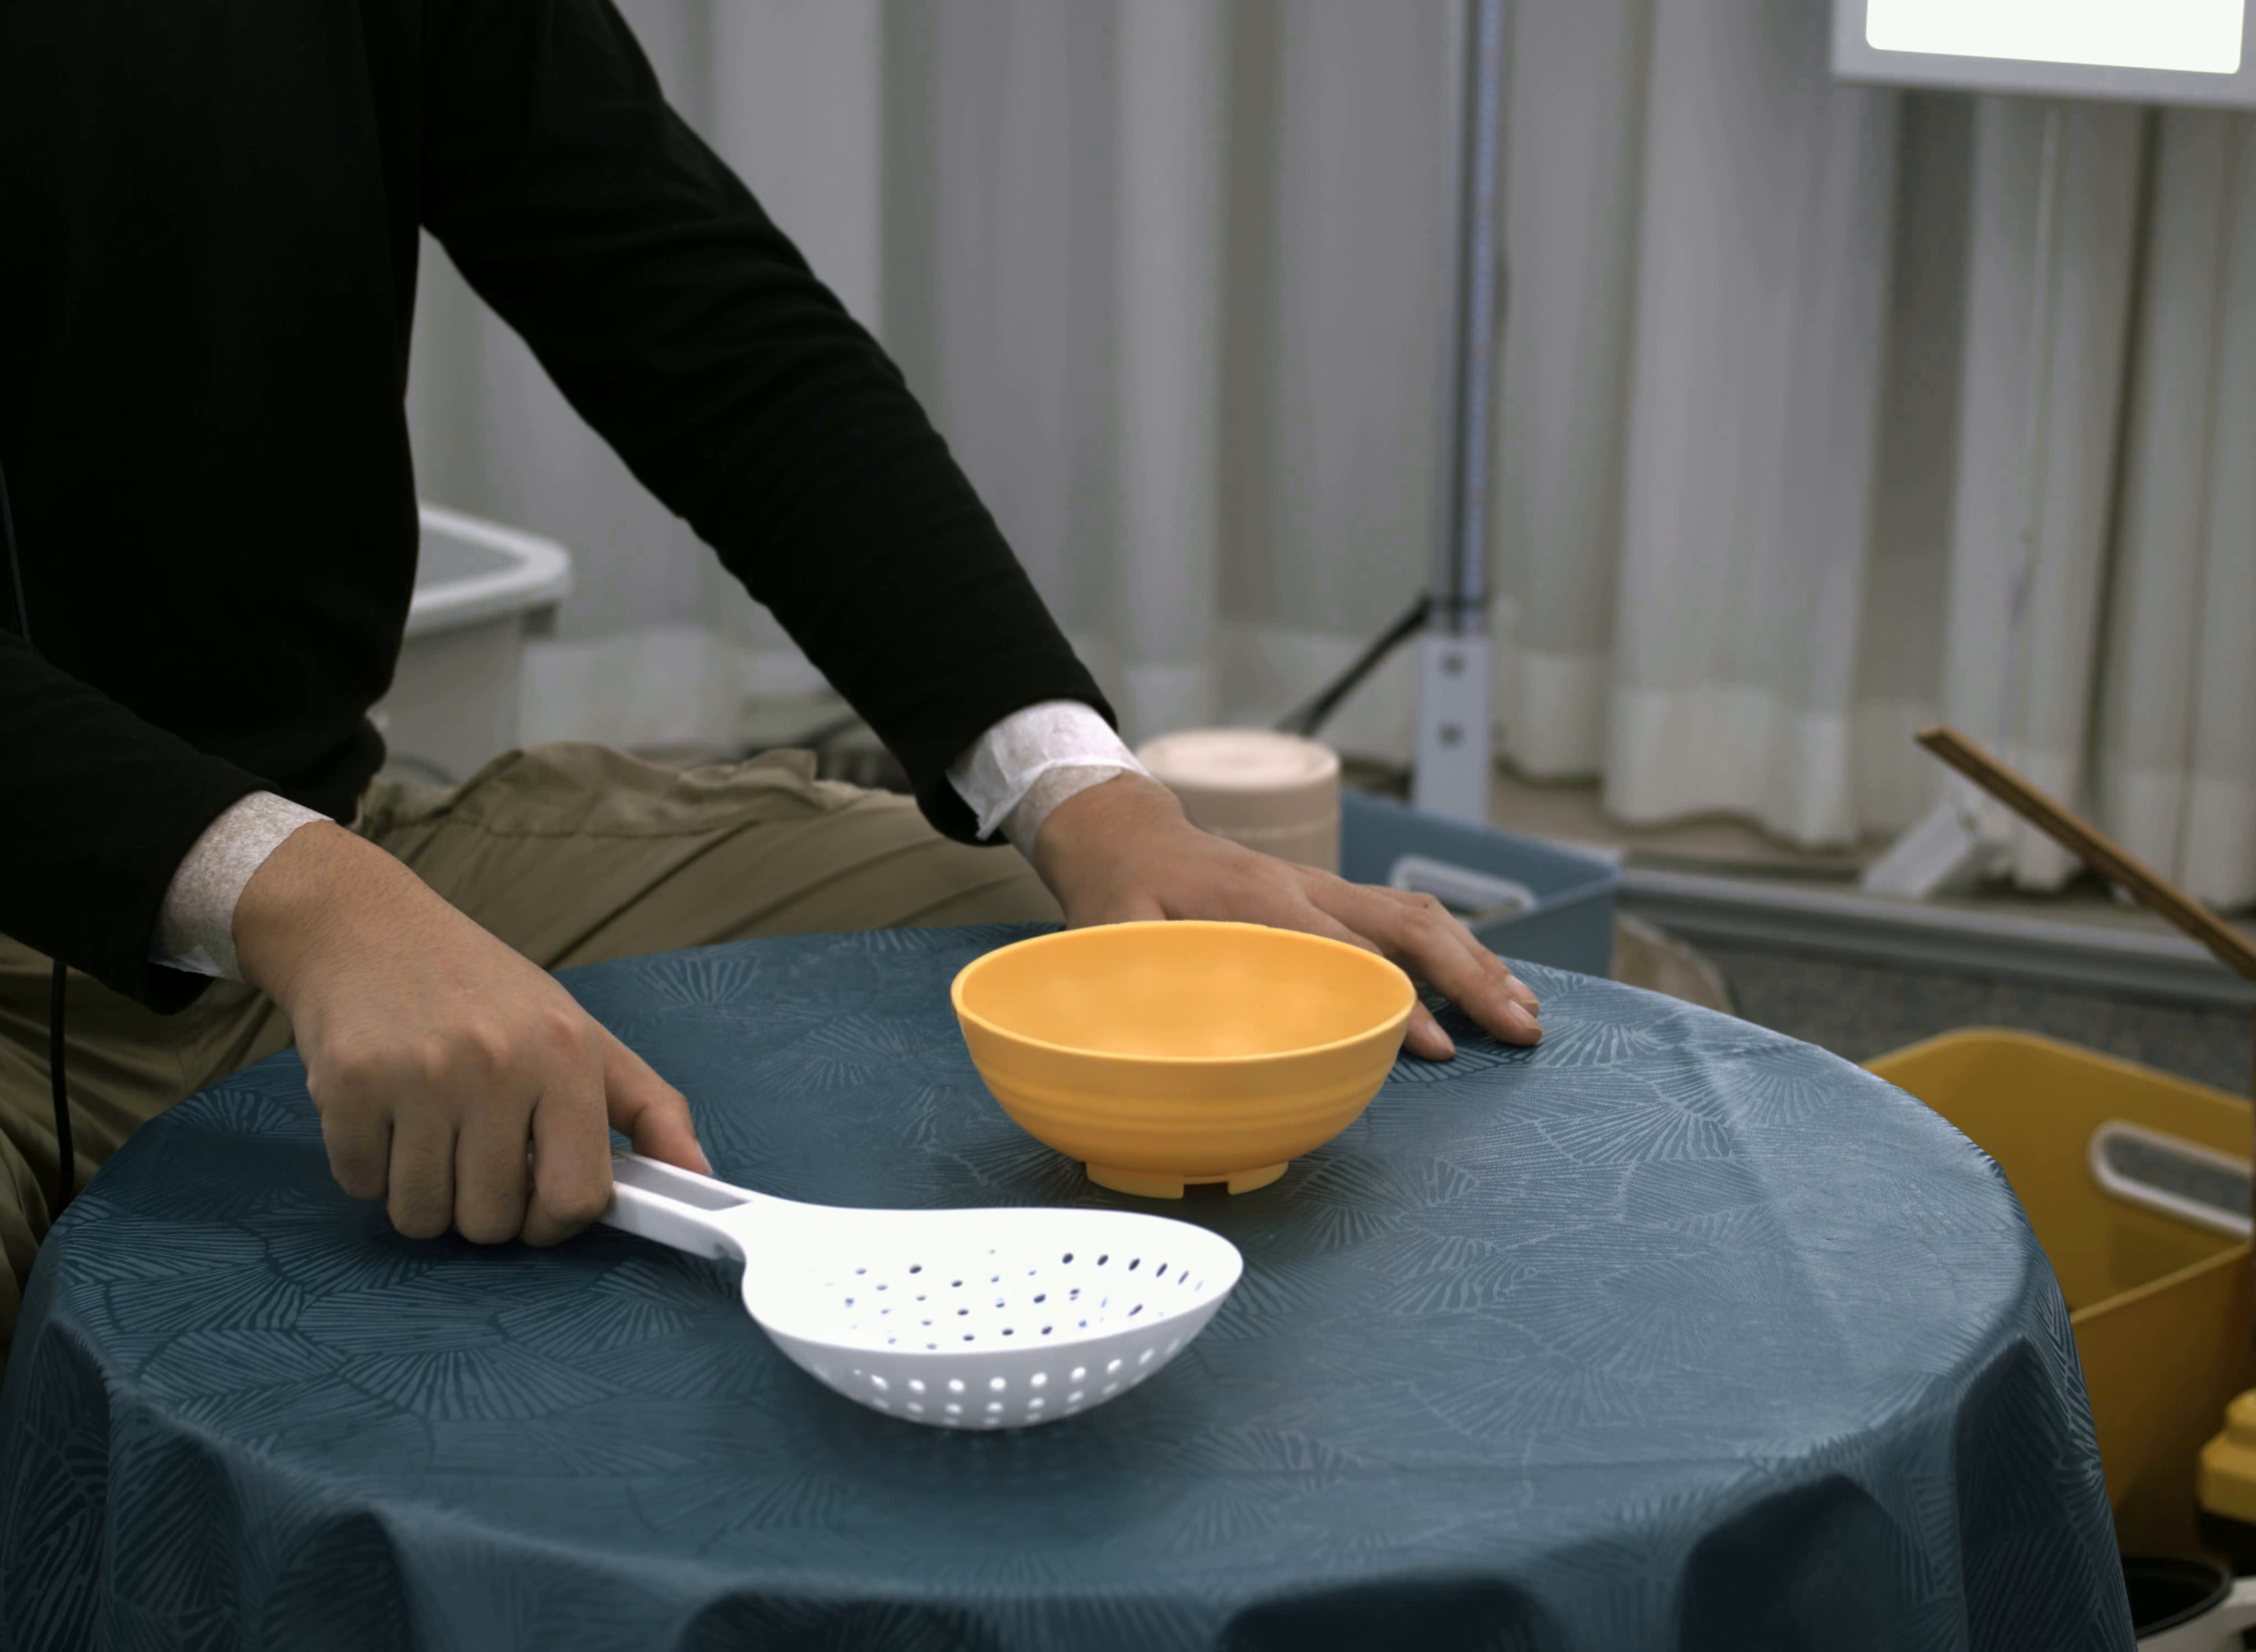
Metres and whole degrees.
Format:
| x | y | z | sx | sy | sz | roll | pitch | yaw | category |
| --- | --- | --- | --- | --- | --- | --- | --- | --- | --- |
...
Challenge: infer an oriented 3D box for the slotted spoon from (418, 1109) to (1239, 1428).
| x | y | z | sx | sy | sz | roll | pitch | yaw | category |
| --- | --- | --- | --- | --- | --- | --- | --- | --- | --- |
| -0.104 | 0.117 | 1.514 | 0.136 | 0.046 | 0.345 | -14 | 20 | -38 | slotted spoon |

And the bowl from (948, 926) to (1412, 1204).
| x | y | z | sx | sy | sz | roll | pitch | yaw | category |
| --- | --- | --- | --- | --- | --- | --- | --- | --- | --- |
| 0.015 | 0.079 | 1.637 | 0.145 | 0.060 | 0.144 | 2 | 15 | 0 | bowl |
